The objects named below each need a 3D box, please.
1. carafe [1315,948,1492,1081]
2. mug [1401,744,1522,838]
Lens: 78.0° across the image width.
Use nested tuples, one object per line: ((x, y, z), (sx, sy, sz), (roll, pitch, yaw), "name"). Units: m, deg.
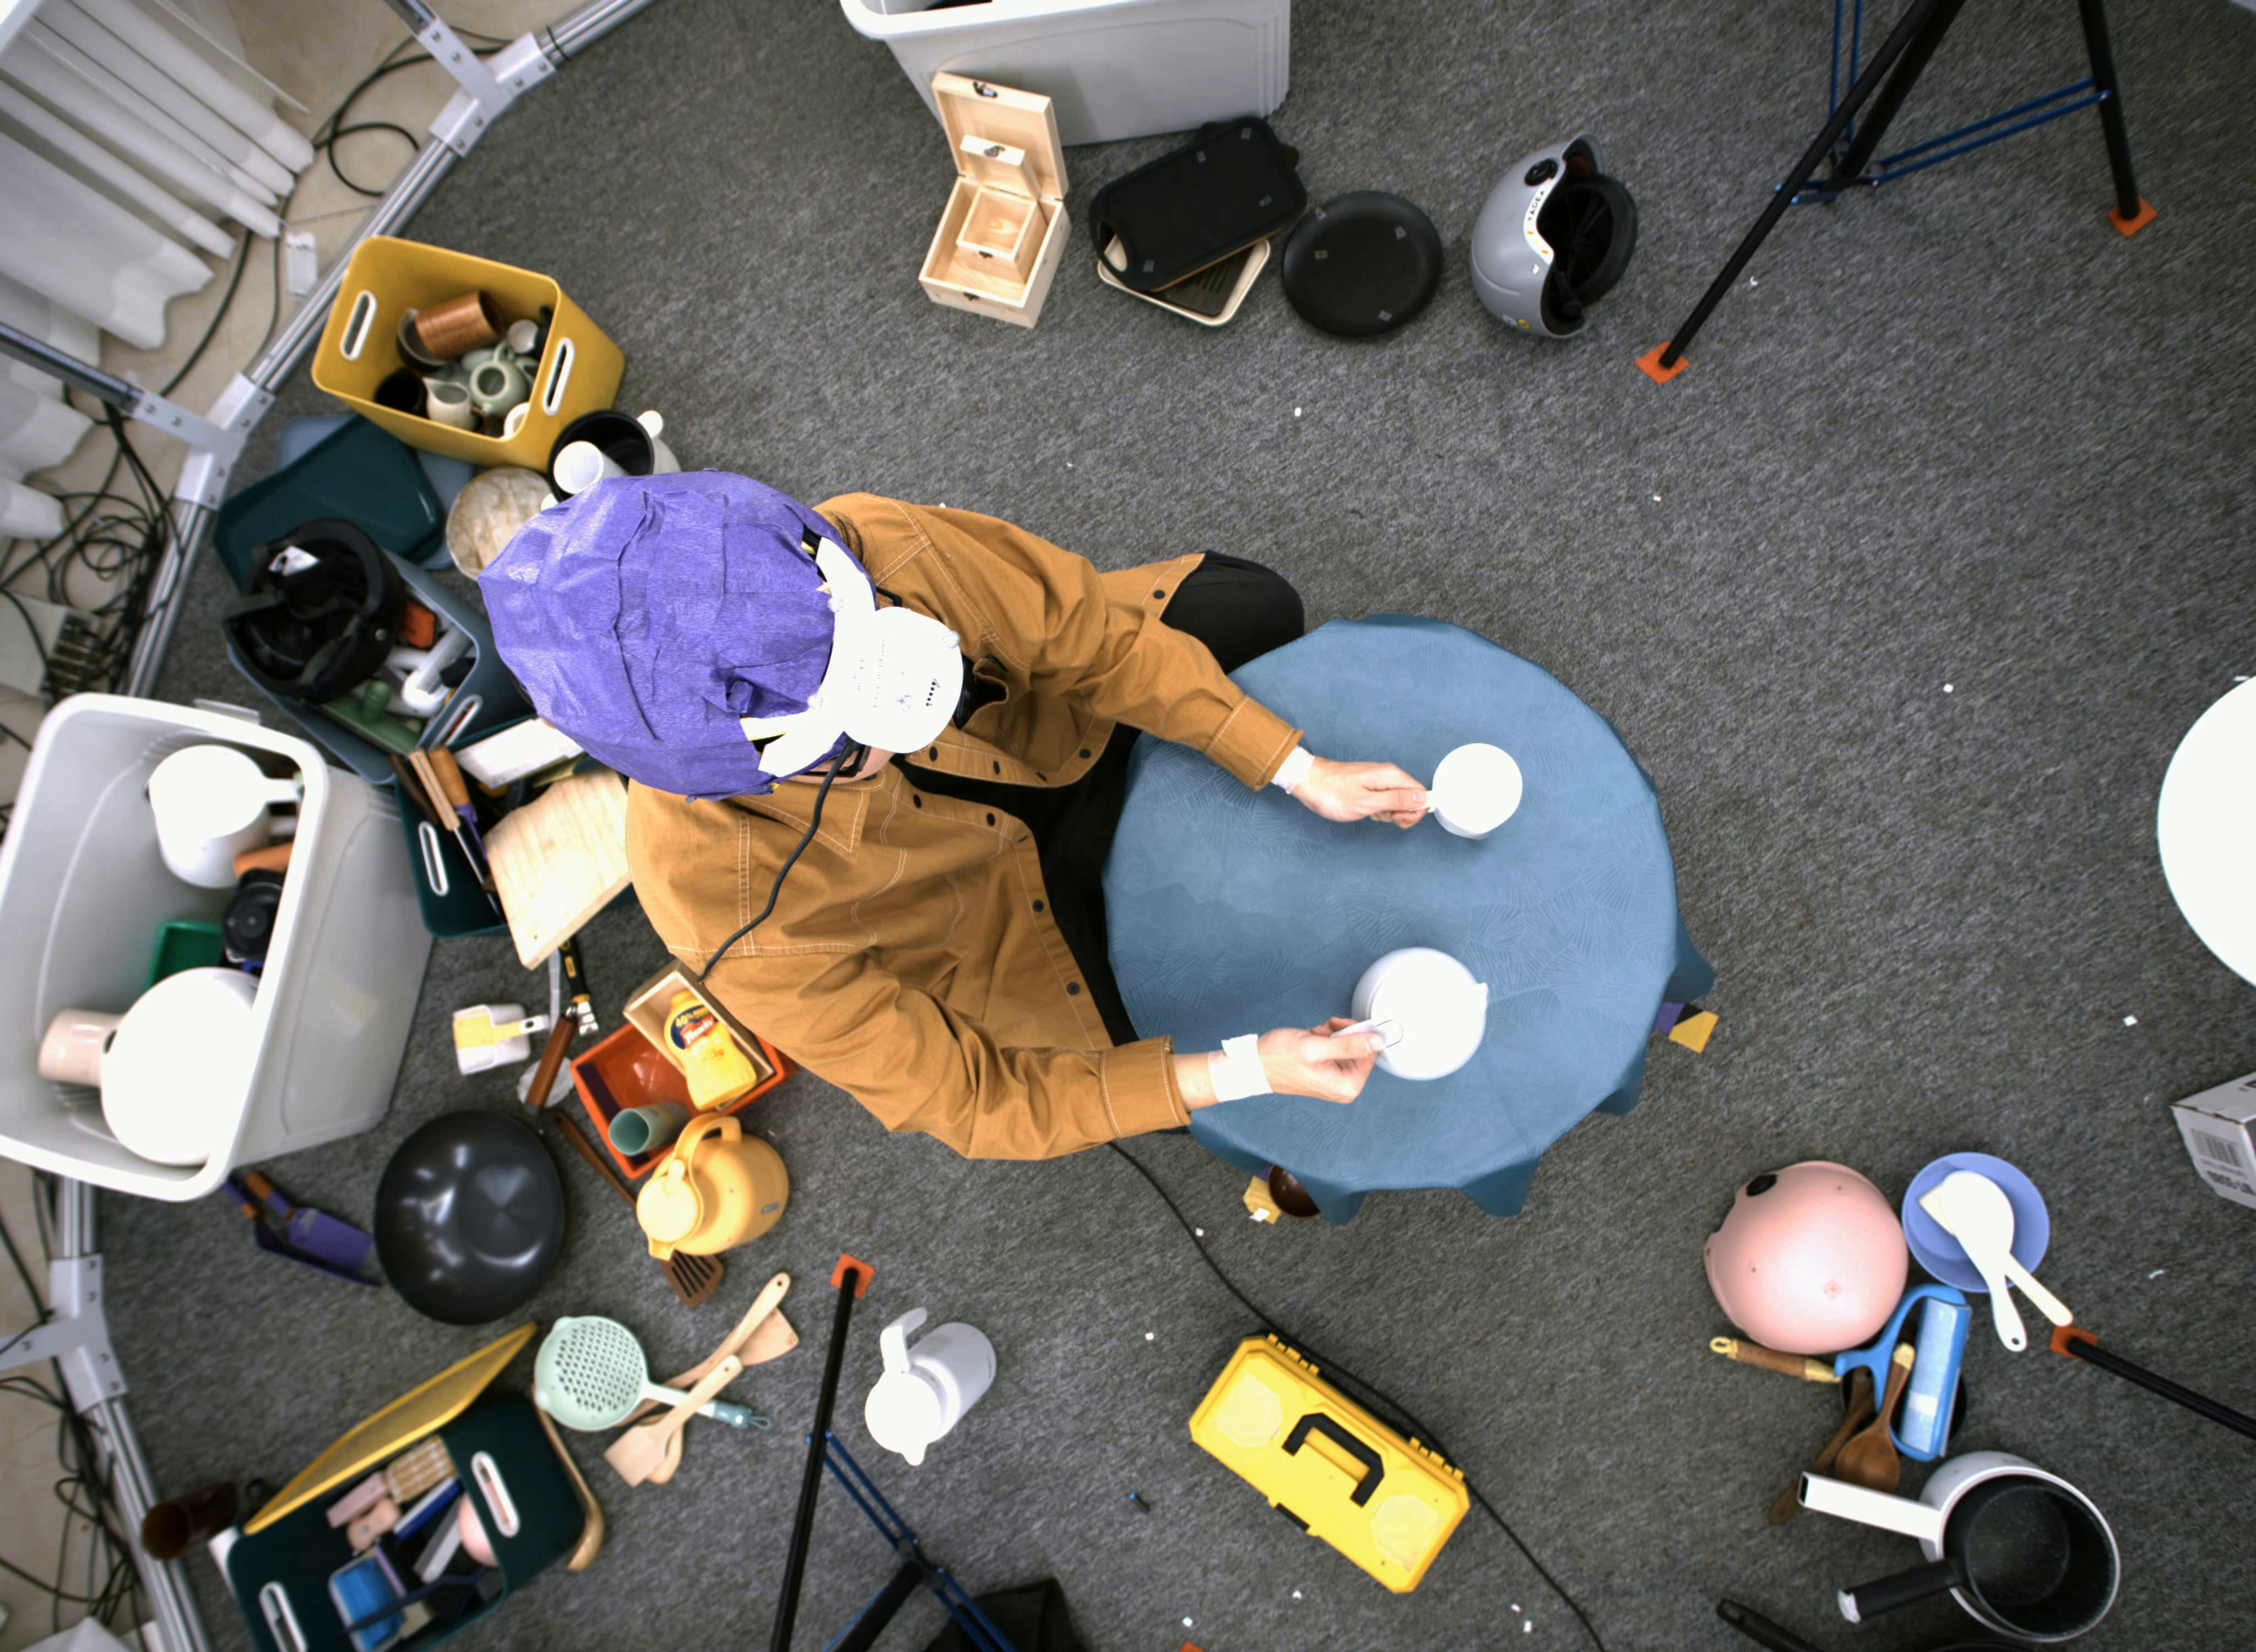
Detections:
((0.263, 0.189, 1.331), (0.169, 0.248, 0.131), (-22, 82, 8), "carafe")
((0.337, -0.031, 1.401), (0.119, 0.102, 0.084), (-14, 83, 9), "mug")
